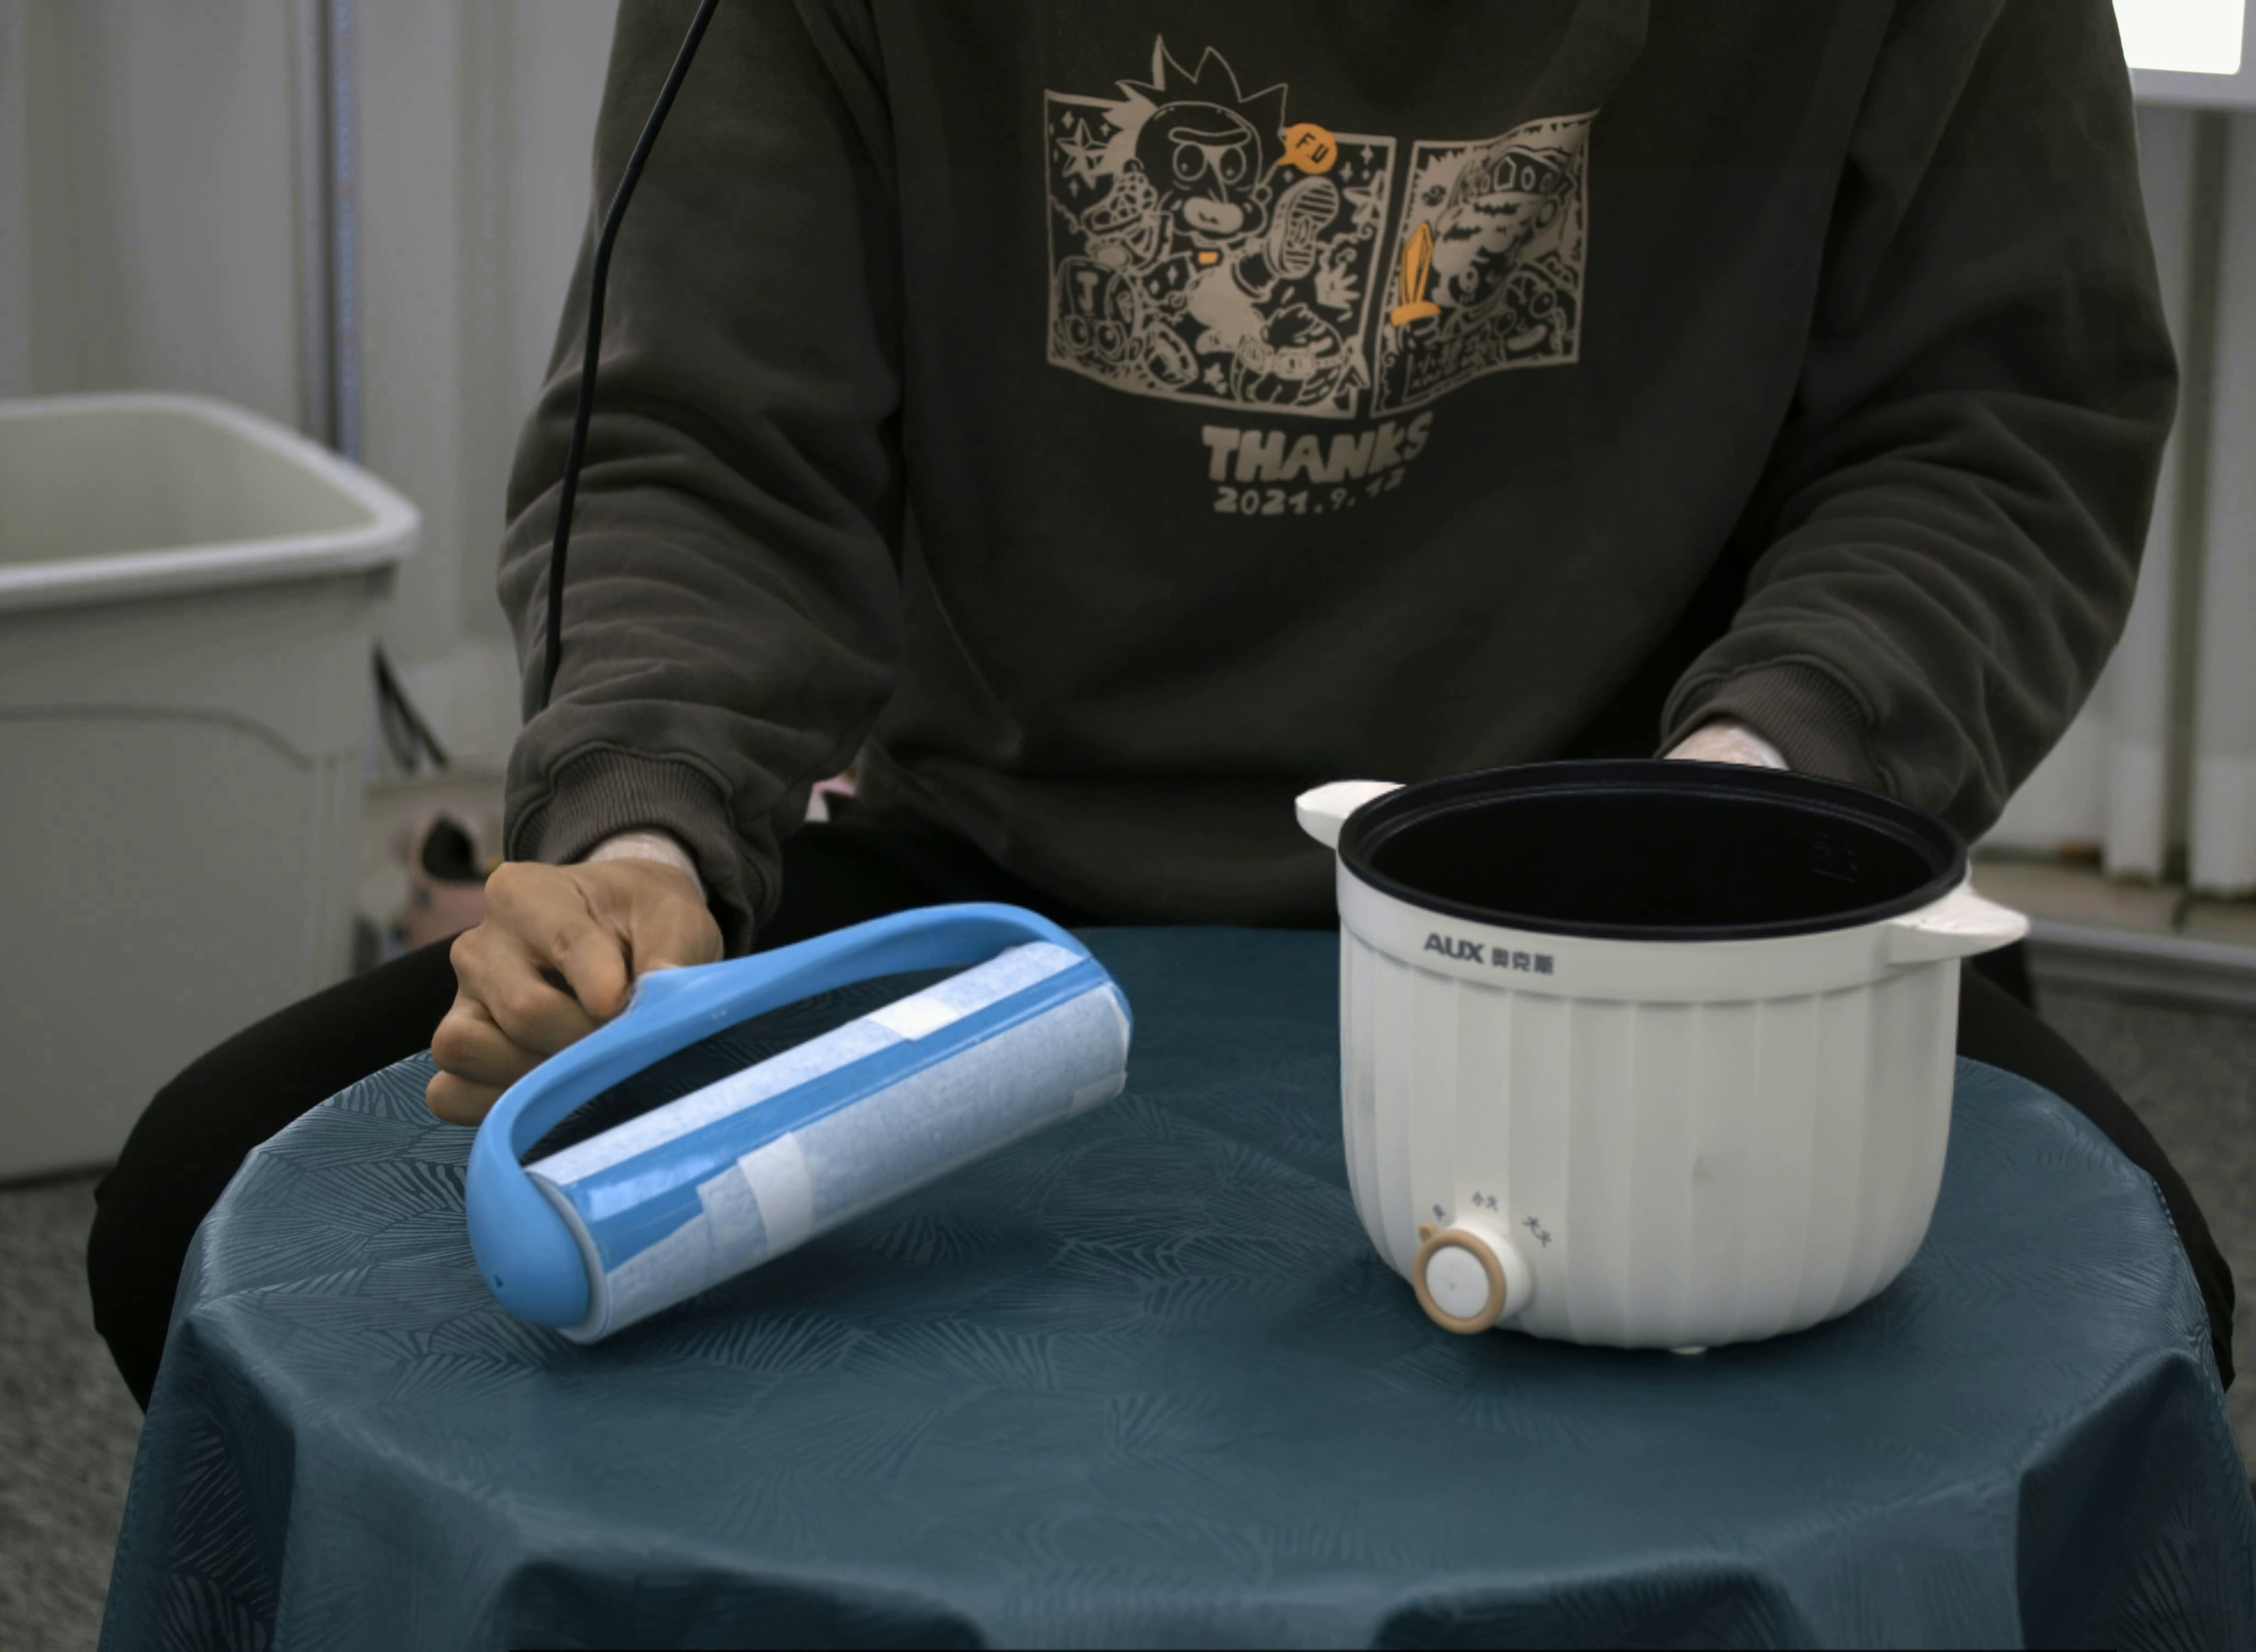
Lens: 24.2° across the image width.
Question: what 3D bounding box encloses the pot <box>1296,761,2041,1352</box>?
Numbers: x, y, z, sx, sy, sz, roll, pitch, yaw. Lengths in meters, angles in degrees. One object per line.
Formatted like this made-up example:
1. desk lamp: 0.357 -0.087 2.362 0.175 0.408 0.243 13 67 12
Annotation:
1. pot: 0.149 0.069 1.532 0.237 0.143 0.191 10 15 33

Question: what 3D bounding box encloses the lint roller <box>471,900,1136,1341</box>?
1. lint roller: -0.130 0.074 1.579 0.229 0.068 0.178 -26 32 -36
